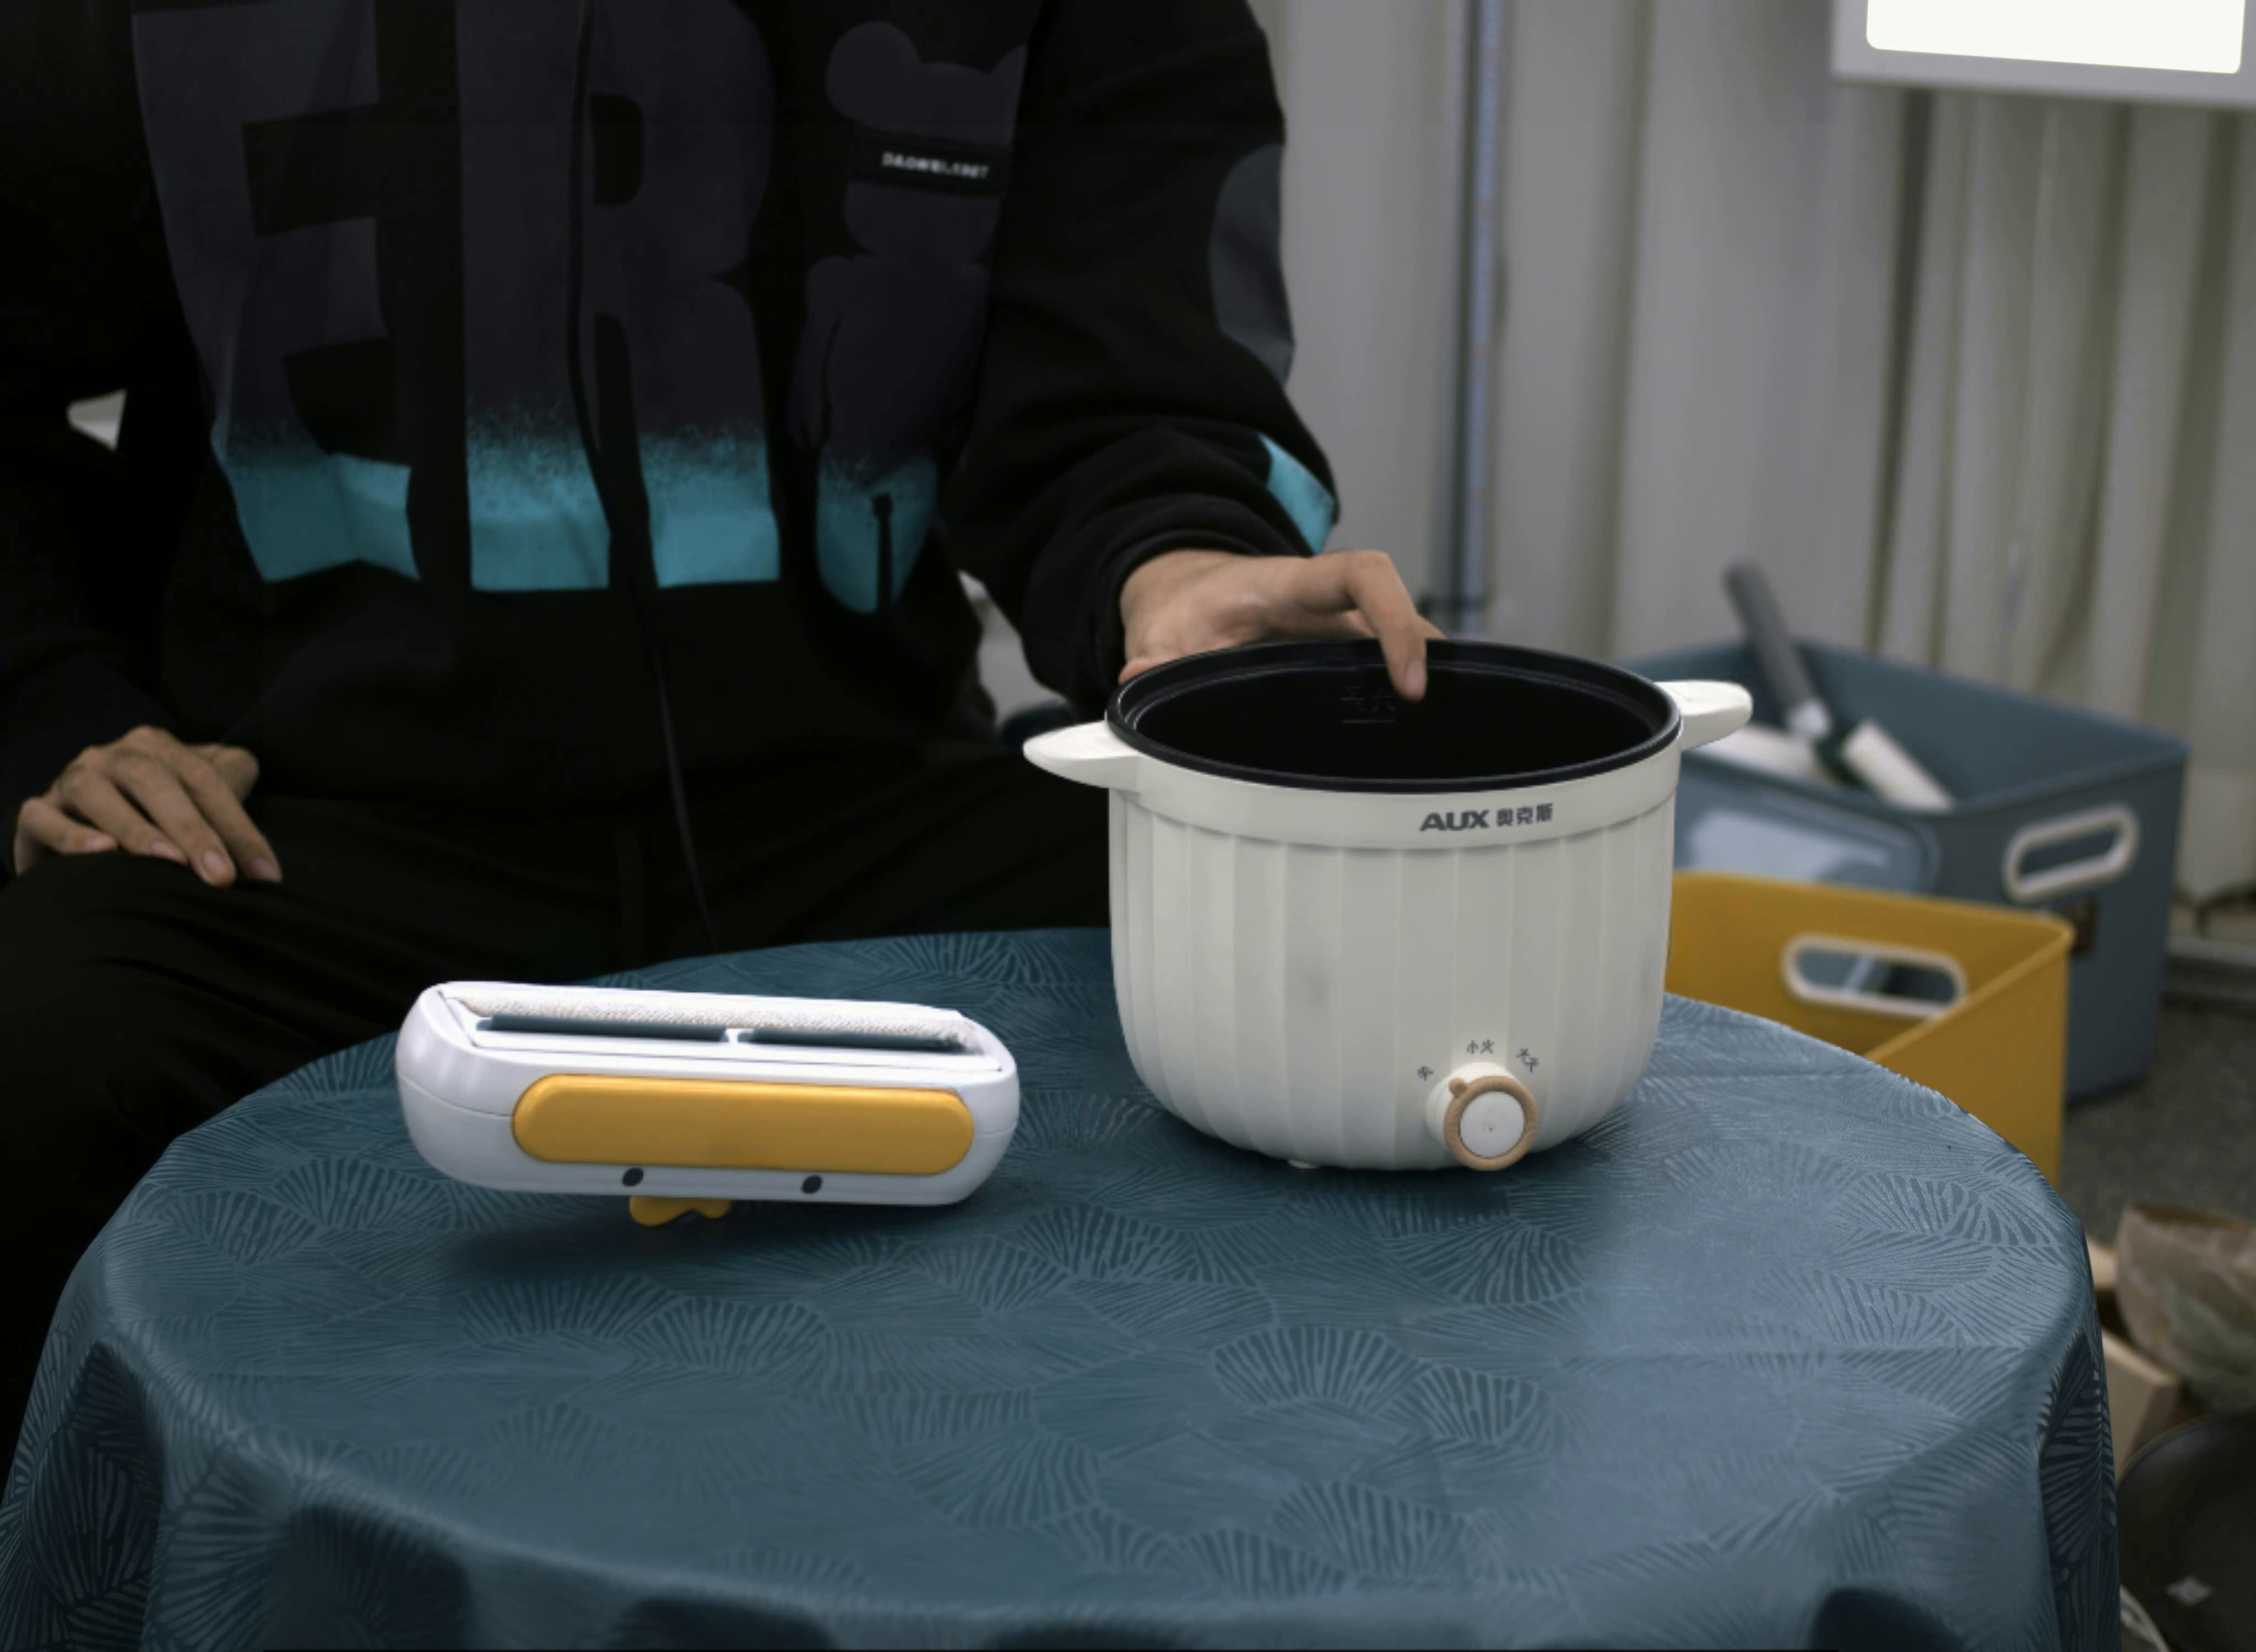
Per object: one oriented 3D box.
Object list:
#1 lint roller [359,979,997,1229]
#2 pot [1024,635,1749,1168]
[{"bbox_3d":[-0.153,0.074,1.627,0.193,0.074,0.190,0,13,-22],"label":"lint roller"},{"bbox_3d":[0.086,0.027,1.668,0.241,0.144,0.188,-6,14,-16],"label":"pot"}]
